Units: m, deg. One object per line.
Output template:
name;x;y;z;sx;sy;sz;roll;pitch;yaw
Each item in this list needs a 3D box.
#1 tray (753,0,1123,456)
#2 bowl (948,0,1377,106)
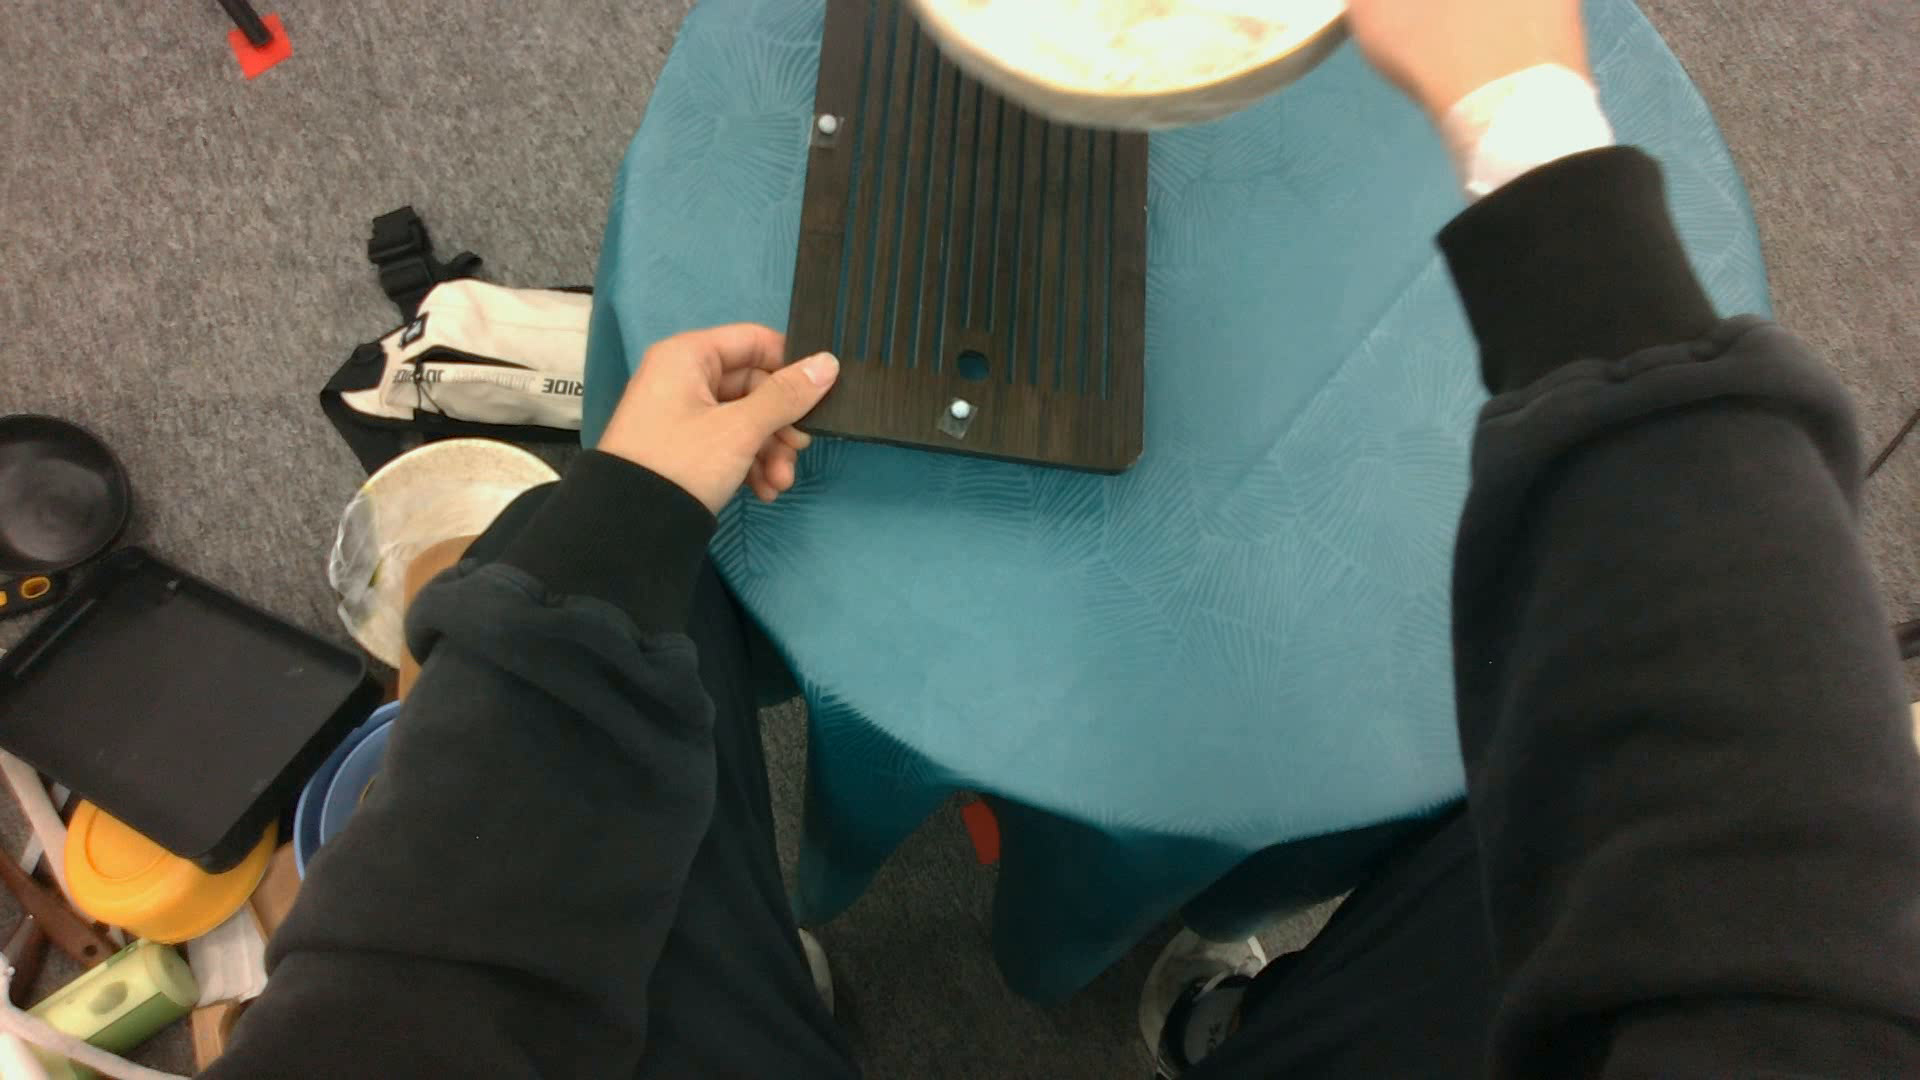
tray;-0.003;-0.187;0.682;0.170;0.018;0.307;7;67;-9
bowl;0.080;-0.249;0.531;0.214;0.094;0.215;-2;80;9
